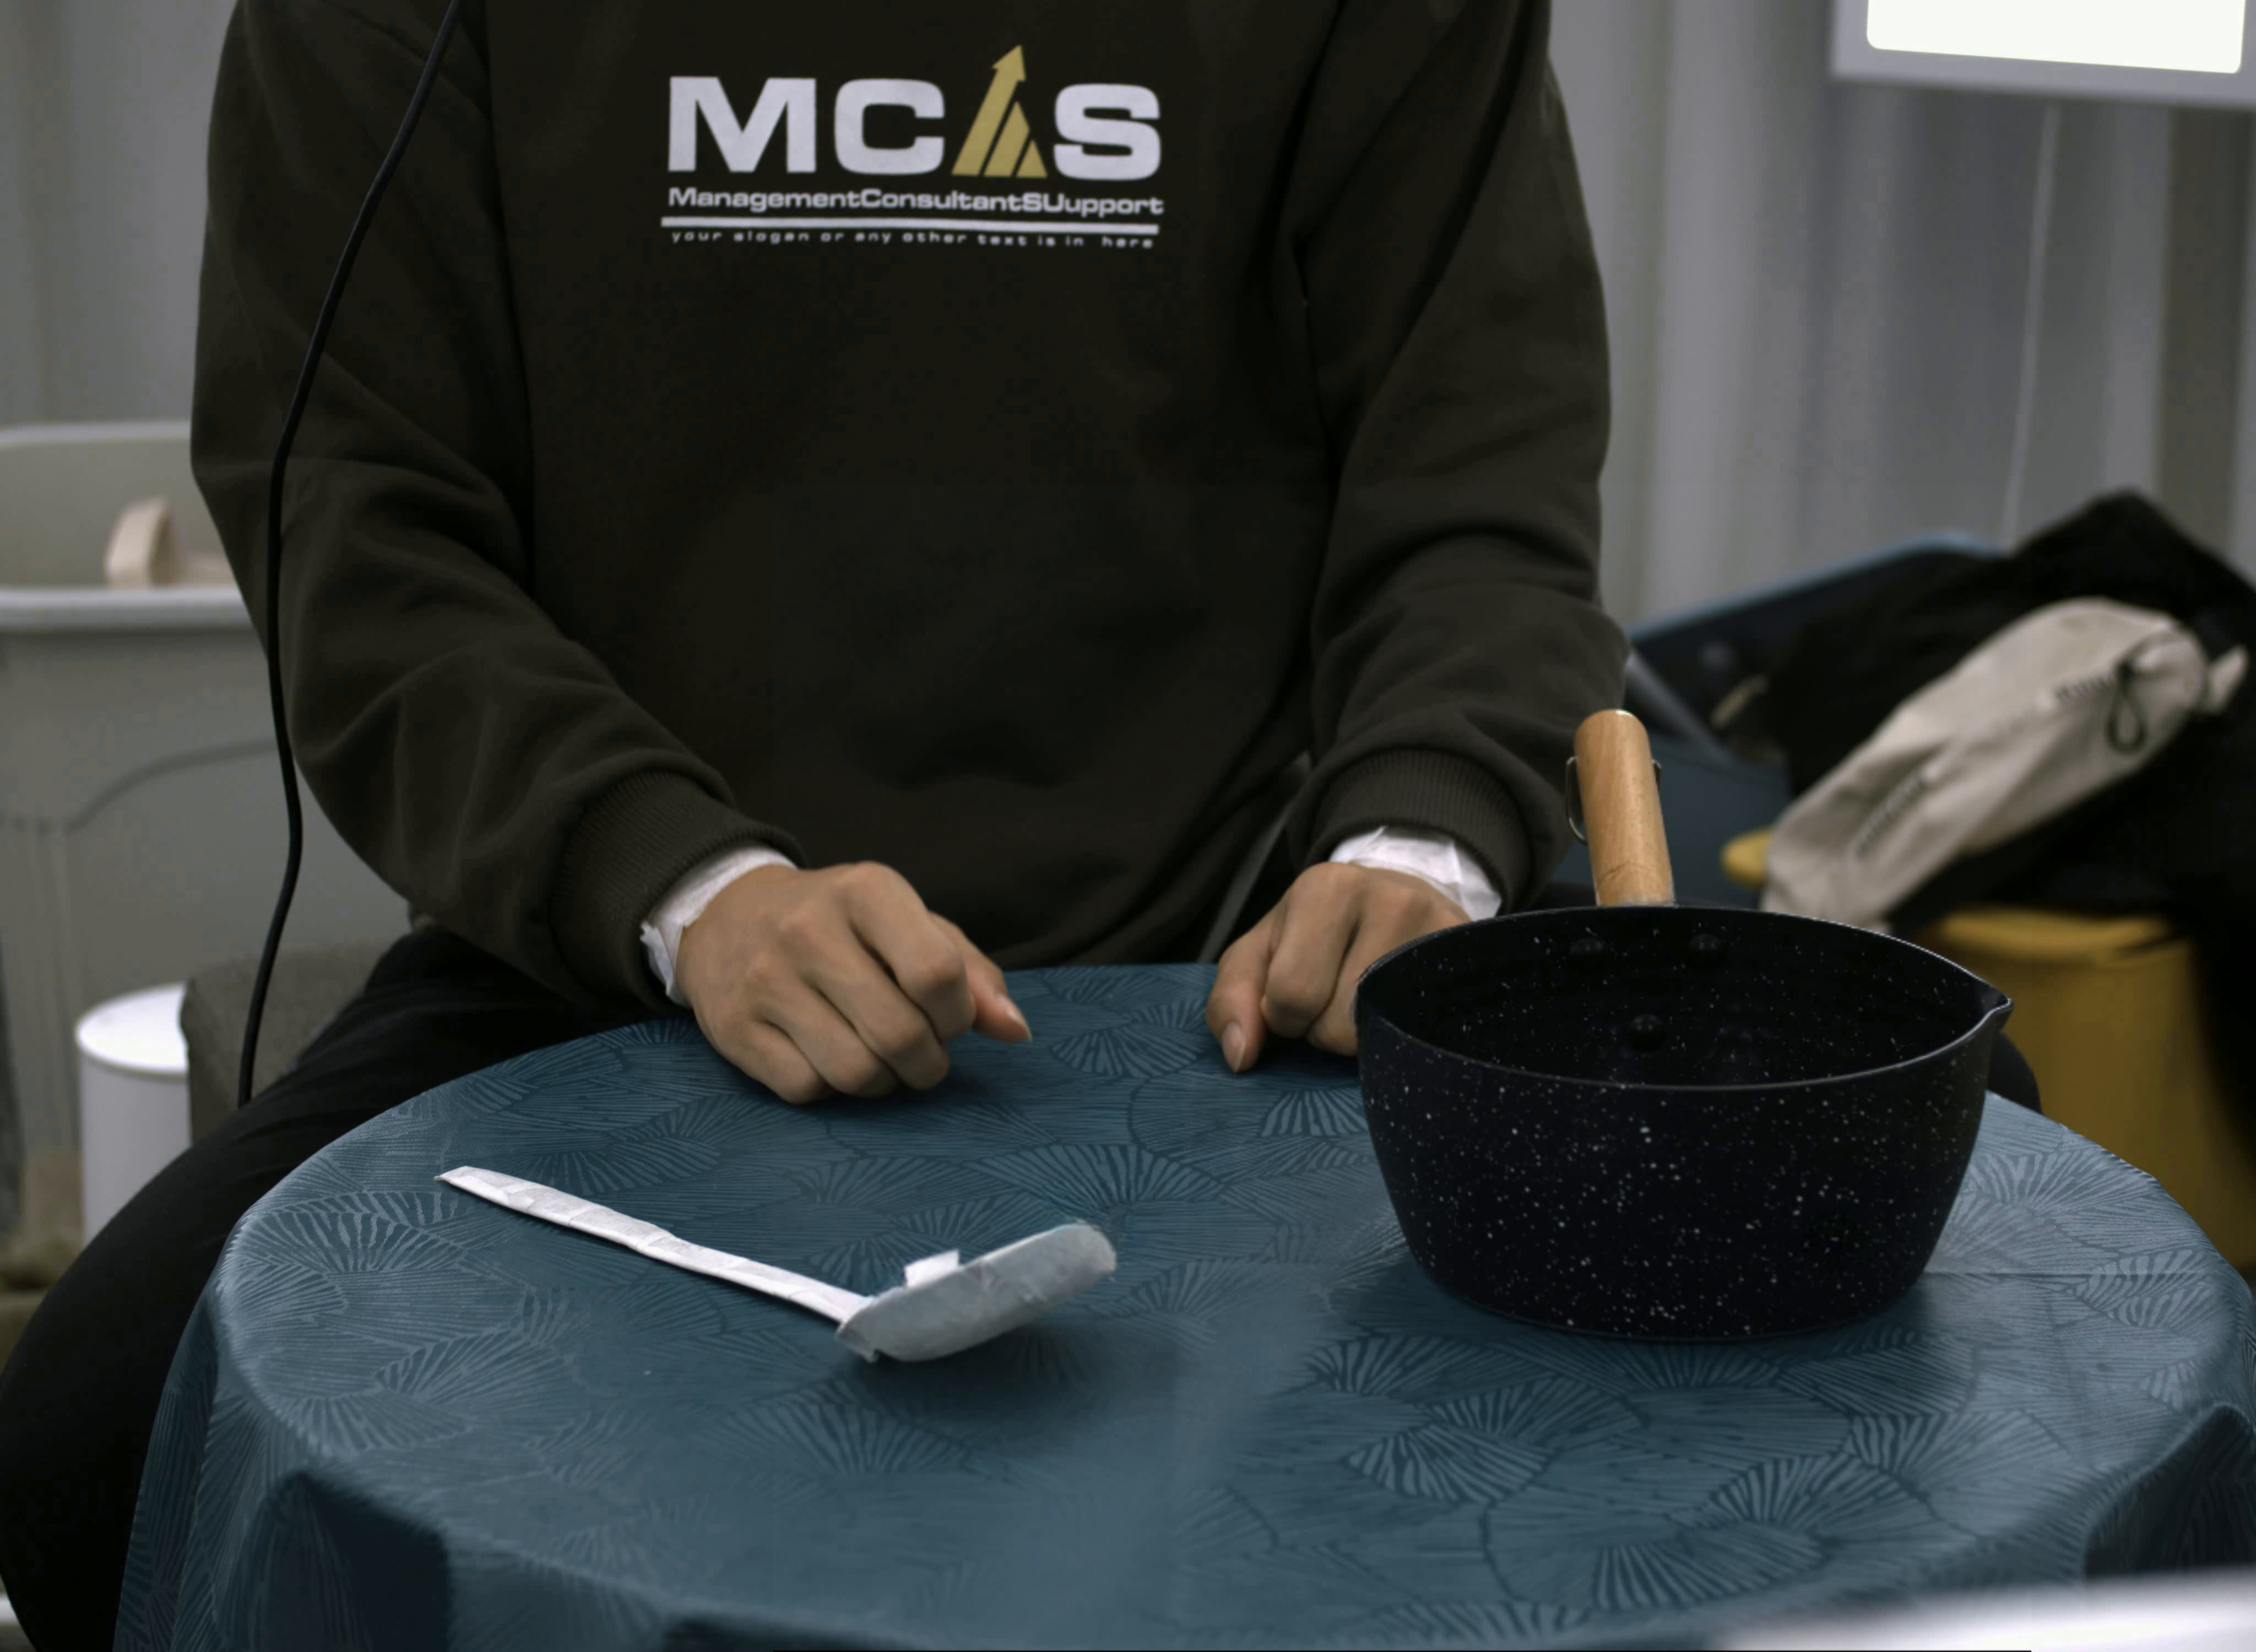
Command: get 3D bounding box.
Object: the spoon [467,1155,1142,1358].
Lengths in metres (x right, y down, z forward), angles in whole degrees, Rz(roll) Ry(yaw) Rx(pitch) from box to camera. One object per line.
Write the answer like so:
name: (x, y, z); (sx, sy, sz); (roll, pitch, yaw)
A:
spoon: (-0.104, 0.106, 1.540); (0.101, 0.060, 0.273); (-8, 17, -43)

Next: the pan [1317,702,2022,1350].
pan: (0.159, 0.057, 1.631); (0.207, 0.109, 0.341); (-1, 17, 0)
